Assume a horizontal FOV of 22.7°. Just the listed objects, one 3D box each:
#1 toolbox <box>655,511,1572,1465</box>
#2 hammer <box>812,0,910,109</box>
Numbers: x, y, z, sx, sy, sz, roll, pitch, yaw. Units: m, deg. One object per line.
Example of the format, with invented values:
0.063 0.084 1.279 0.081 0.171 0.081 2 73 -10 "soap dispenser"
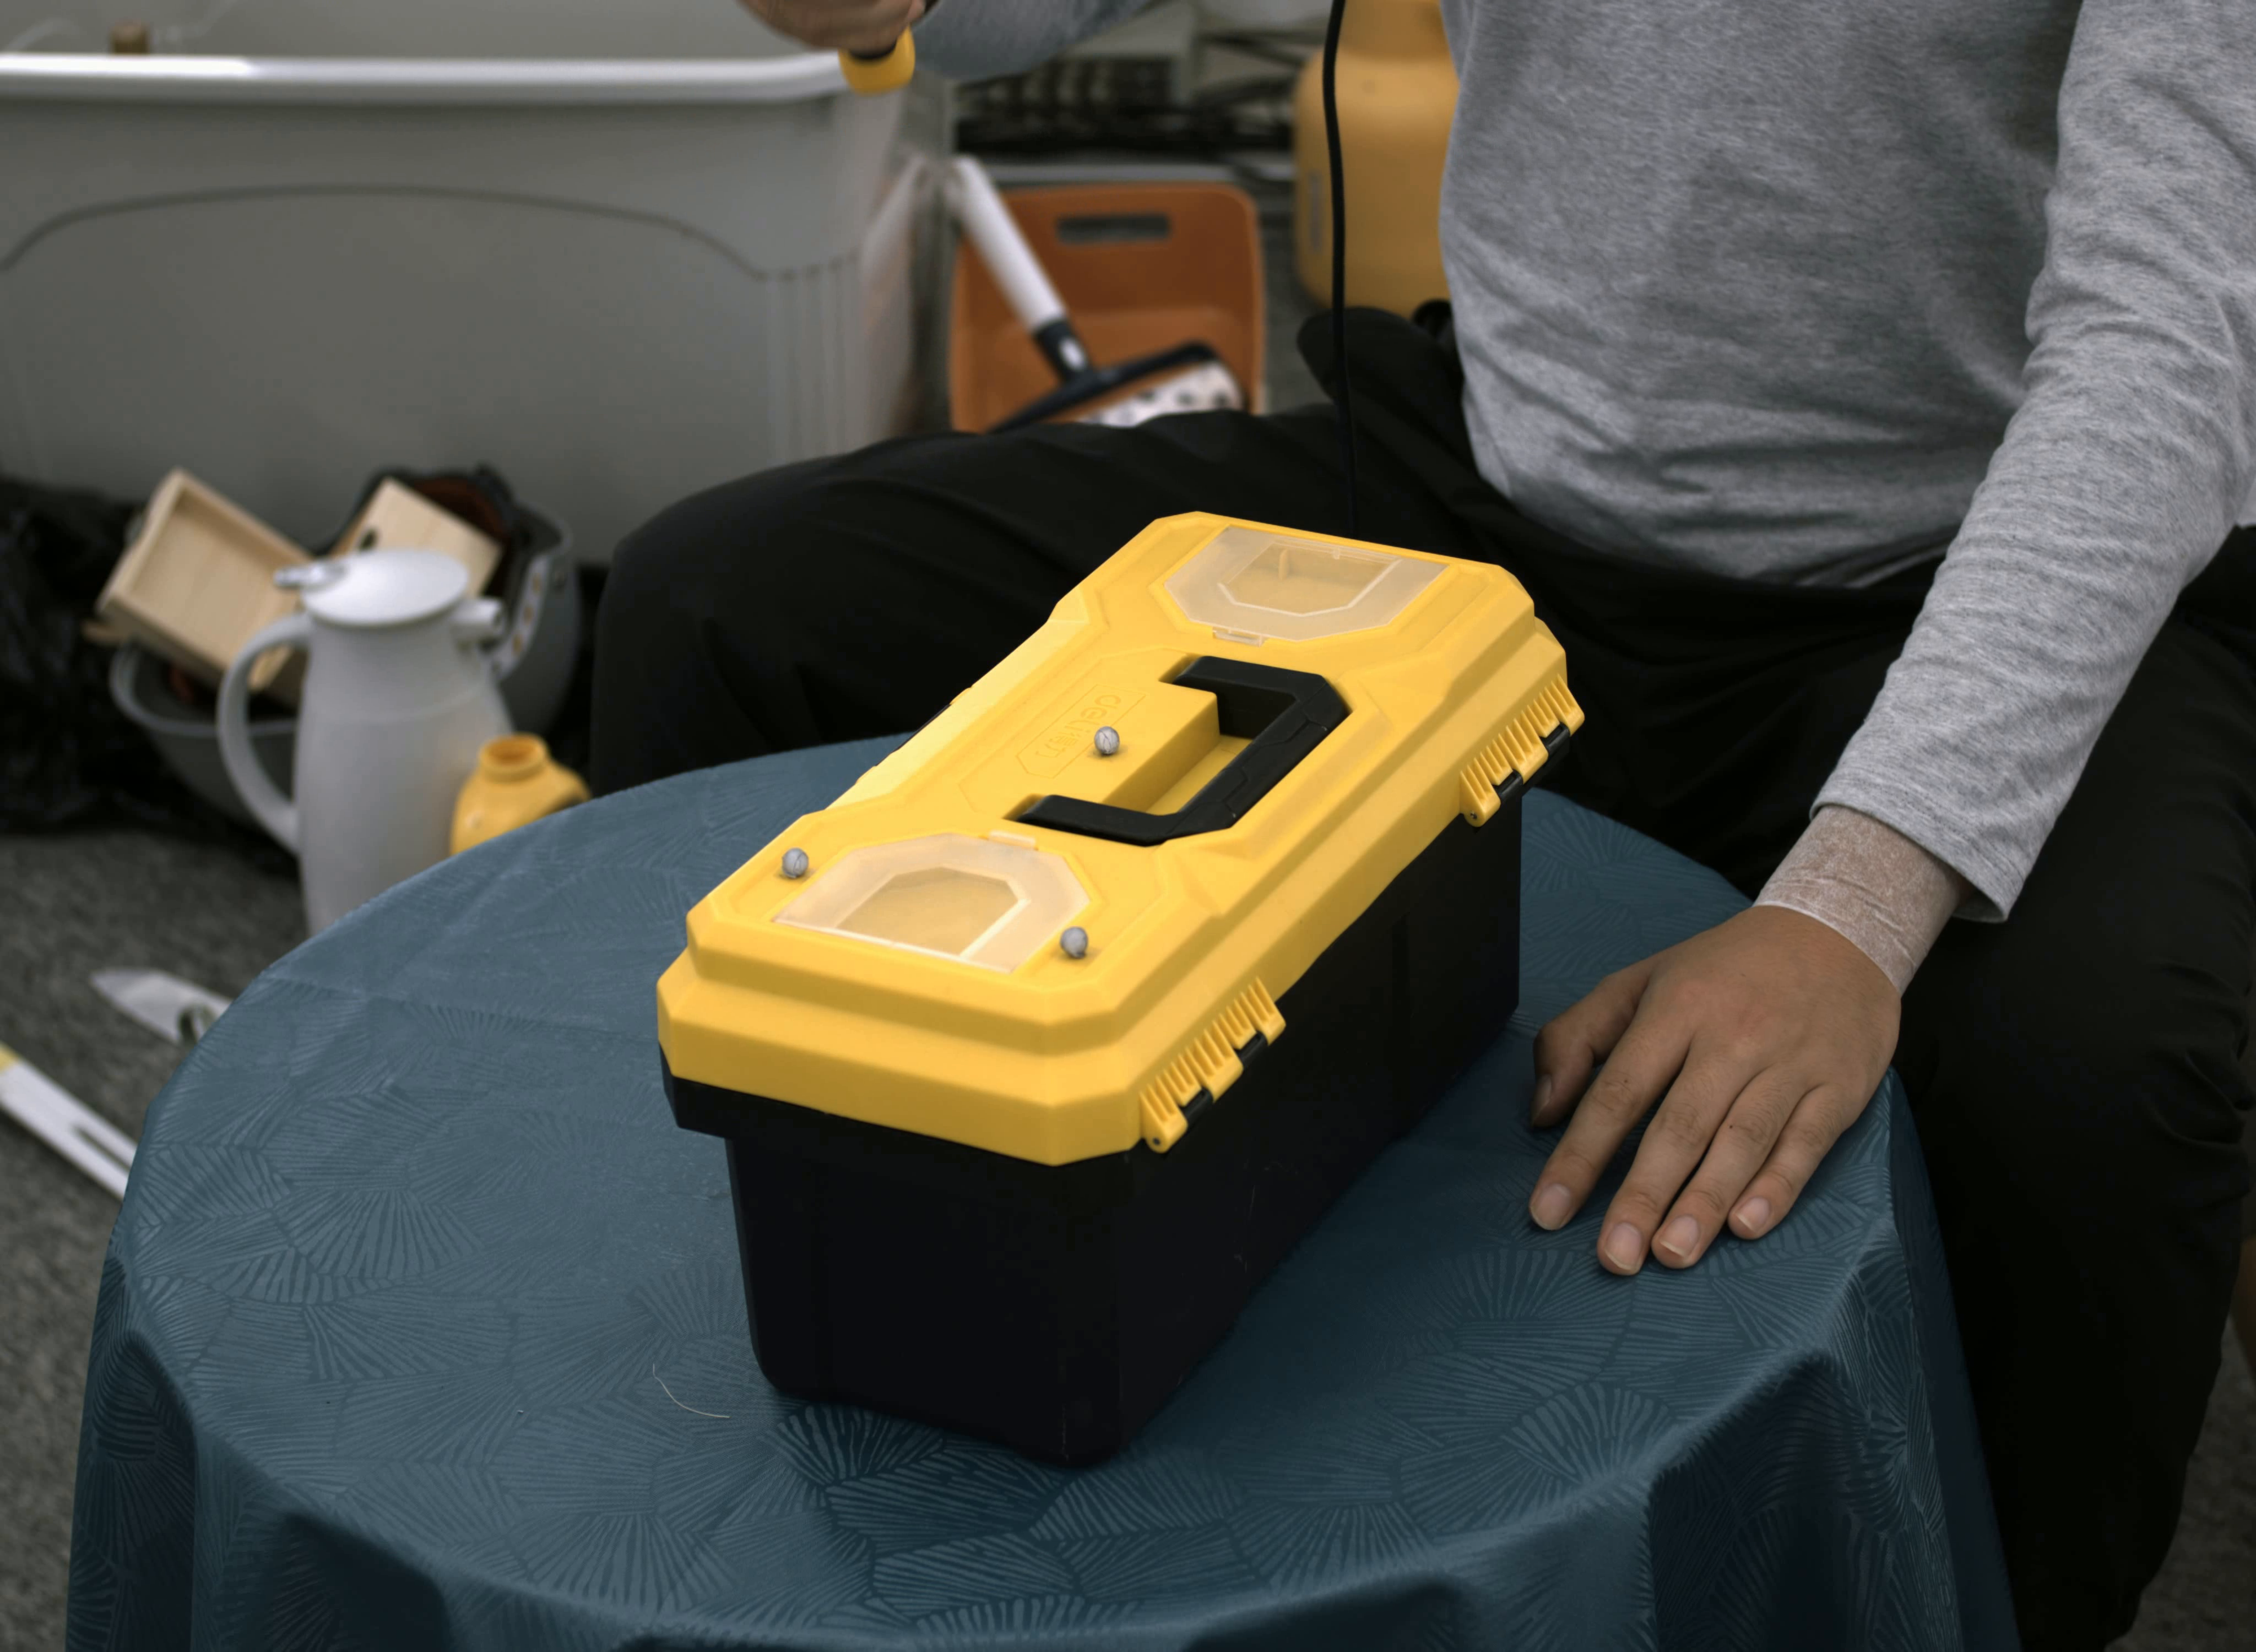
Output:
0.004 0.045 1.826 0.180 0.171 0.357 11 30 26 "toolbox"
-0.114 -0.332 1.856 0.032 0.335 0.133 -14 66 3 "hammer"
